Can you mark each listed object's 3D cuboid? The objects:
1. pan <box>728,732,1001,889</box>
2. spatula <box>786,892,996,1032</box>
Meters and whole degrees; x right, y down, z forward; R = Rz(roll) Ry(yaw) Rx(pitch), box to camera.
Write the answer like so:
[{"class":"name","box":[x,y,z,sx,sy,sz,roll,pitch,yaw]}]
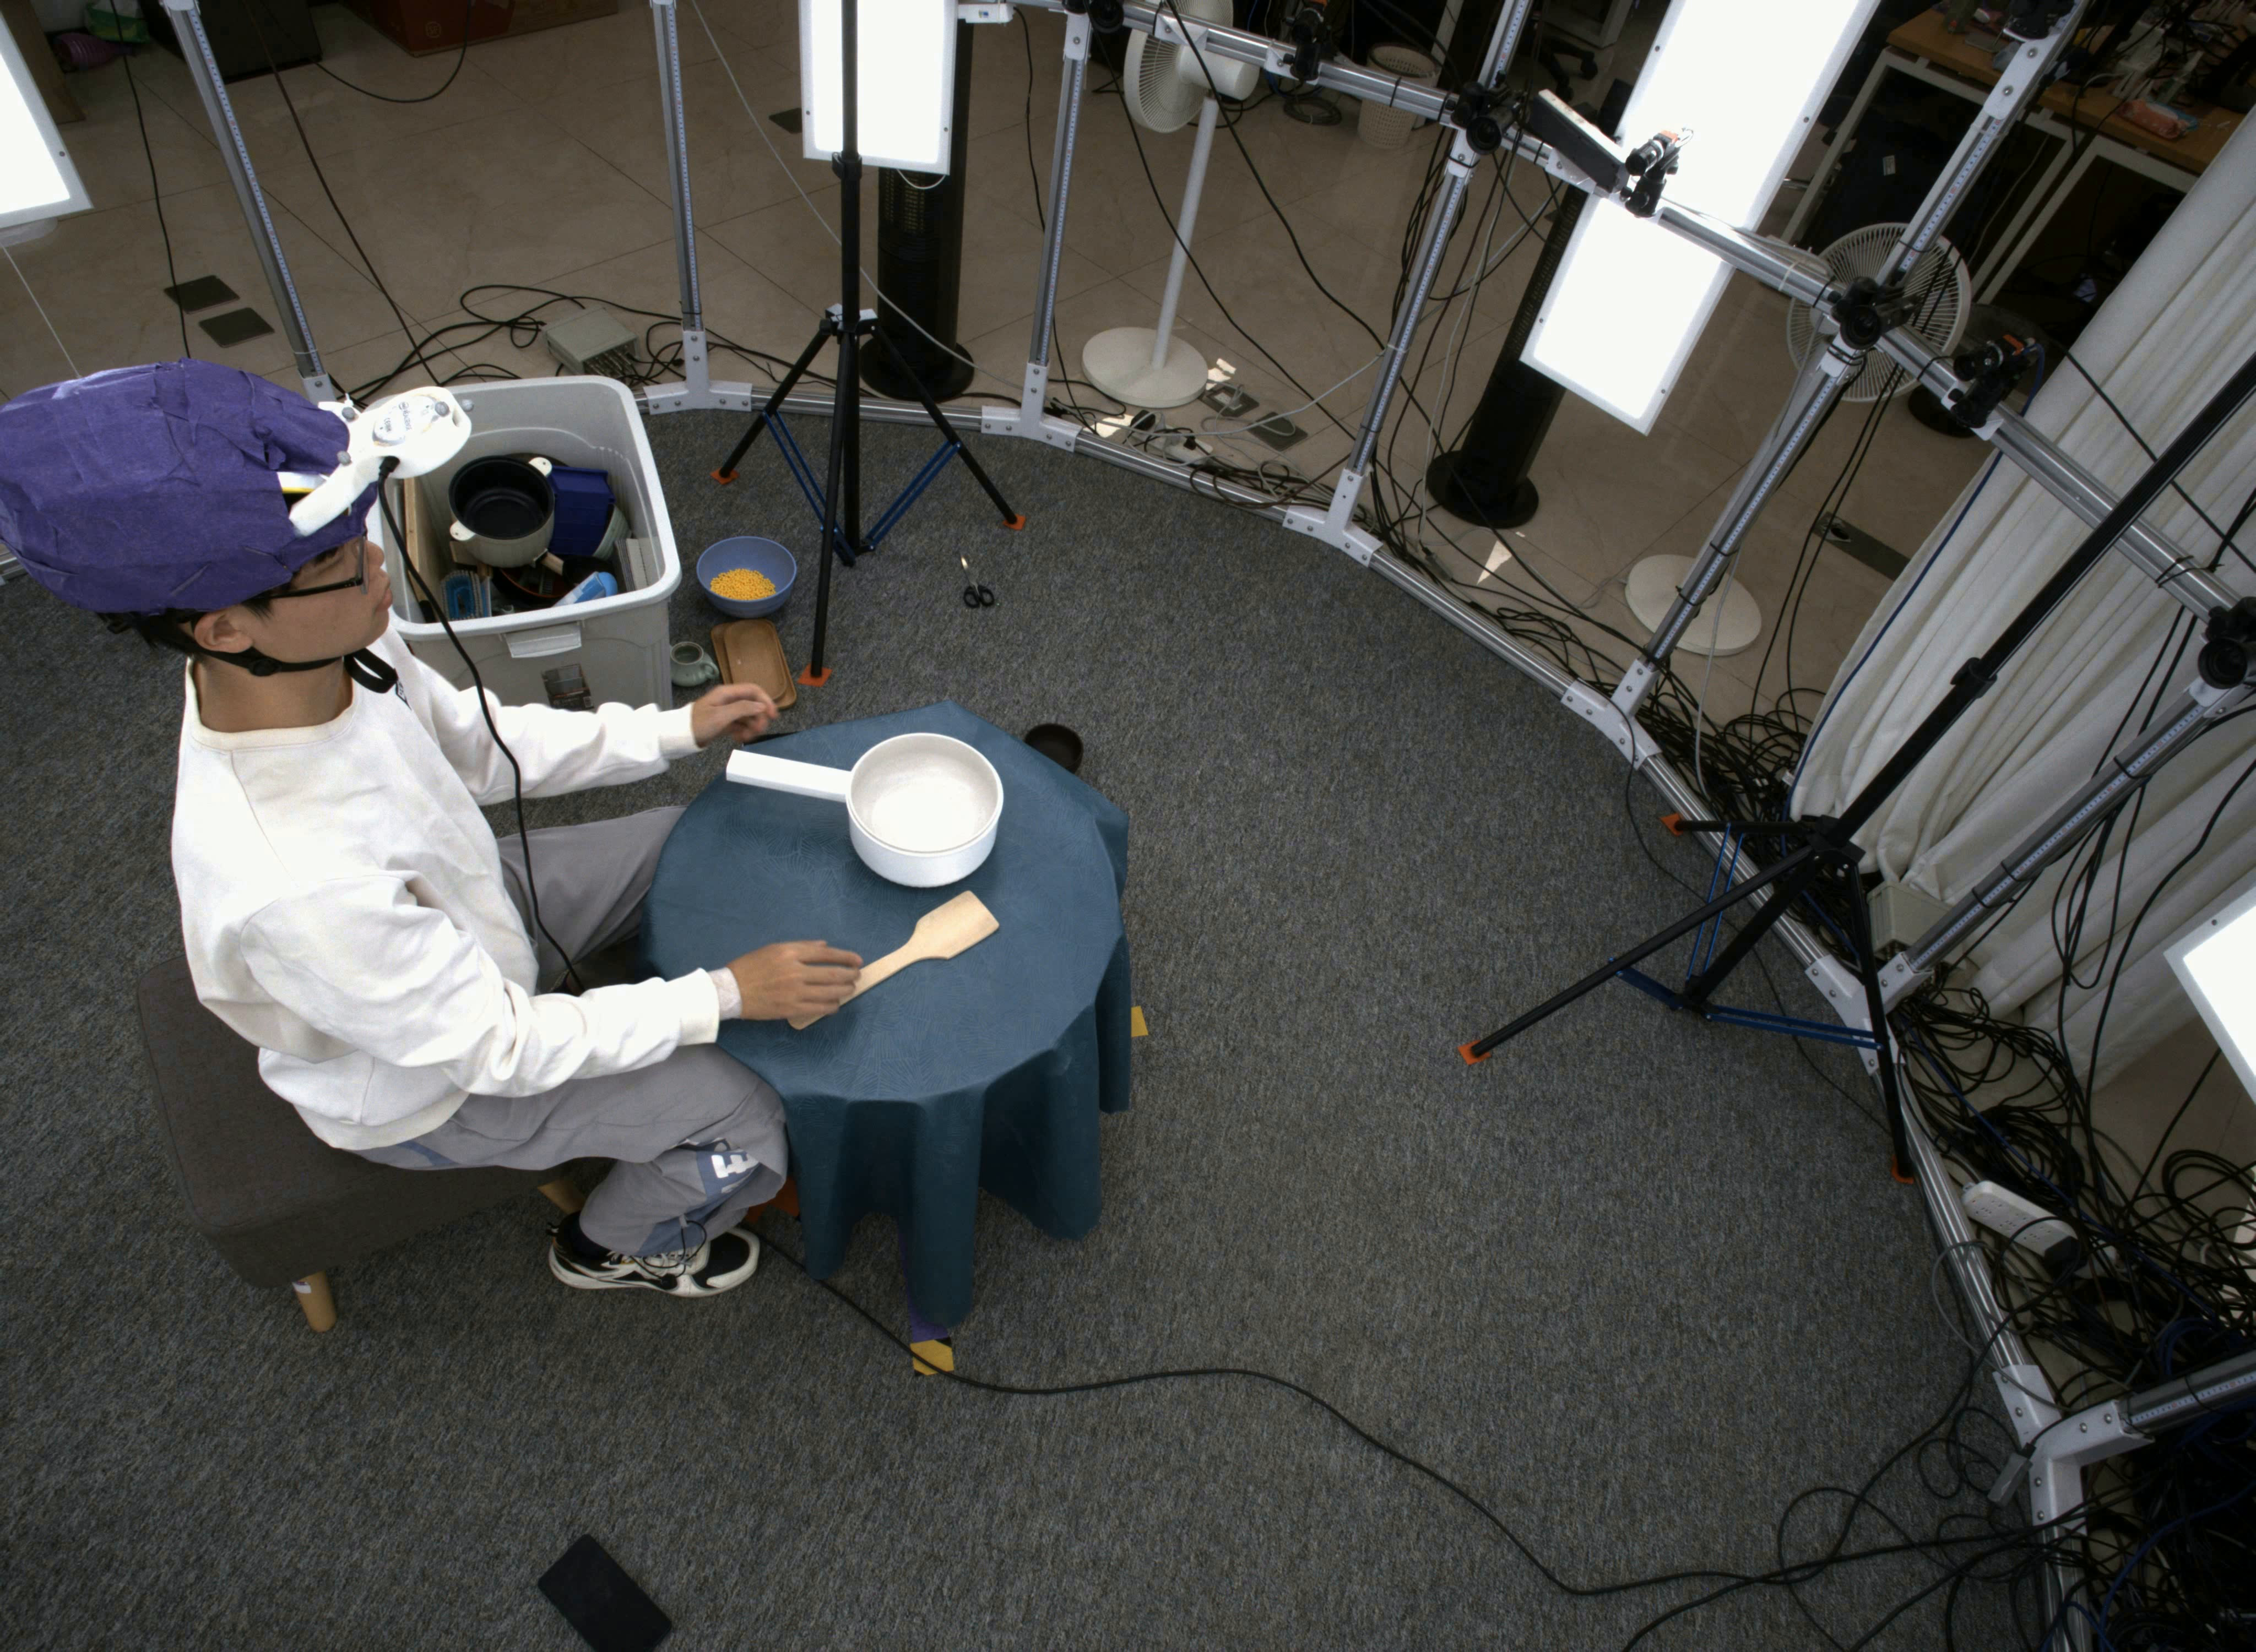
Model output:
[{"class":"pan","box":[-0.345,-0.029,1.714,0.353,0.104,0.198,10,54,-5]},{"class":"spatula","box":[-0.298,0.173,1.630,0.294,0.011,0.070,-31,68,-30]}]
